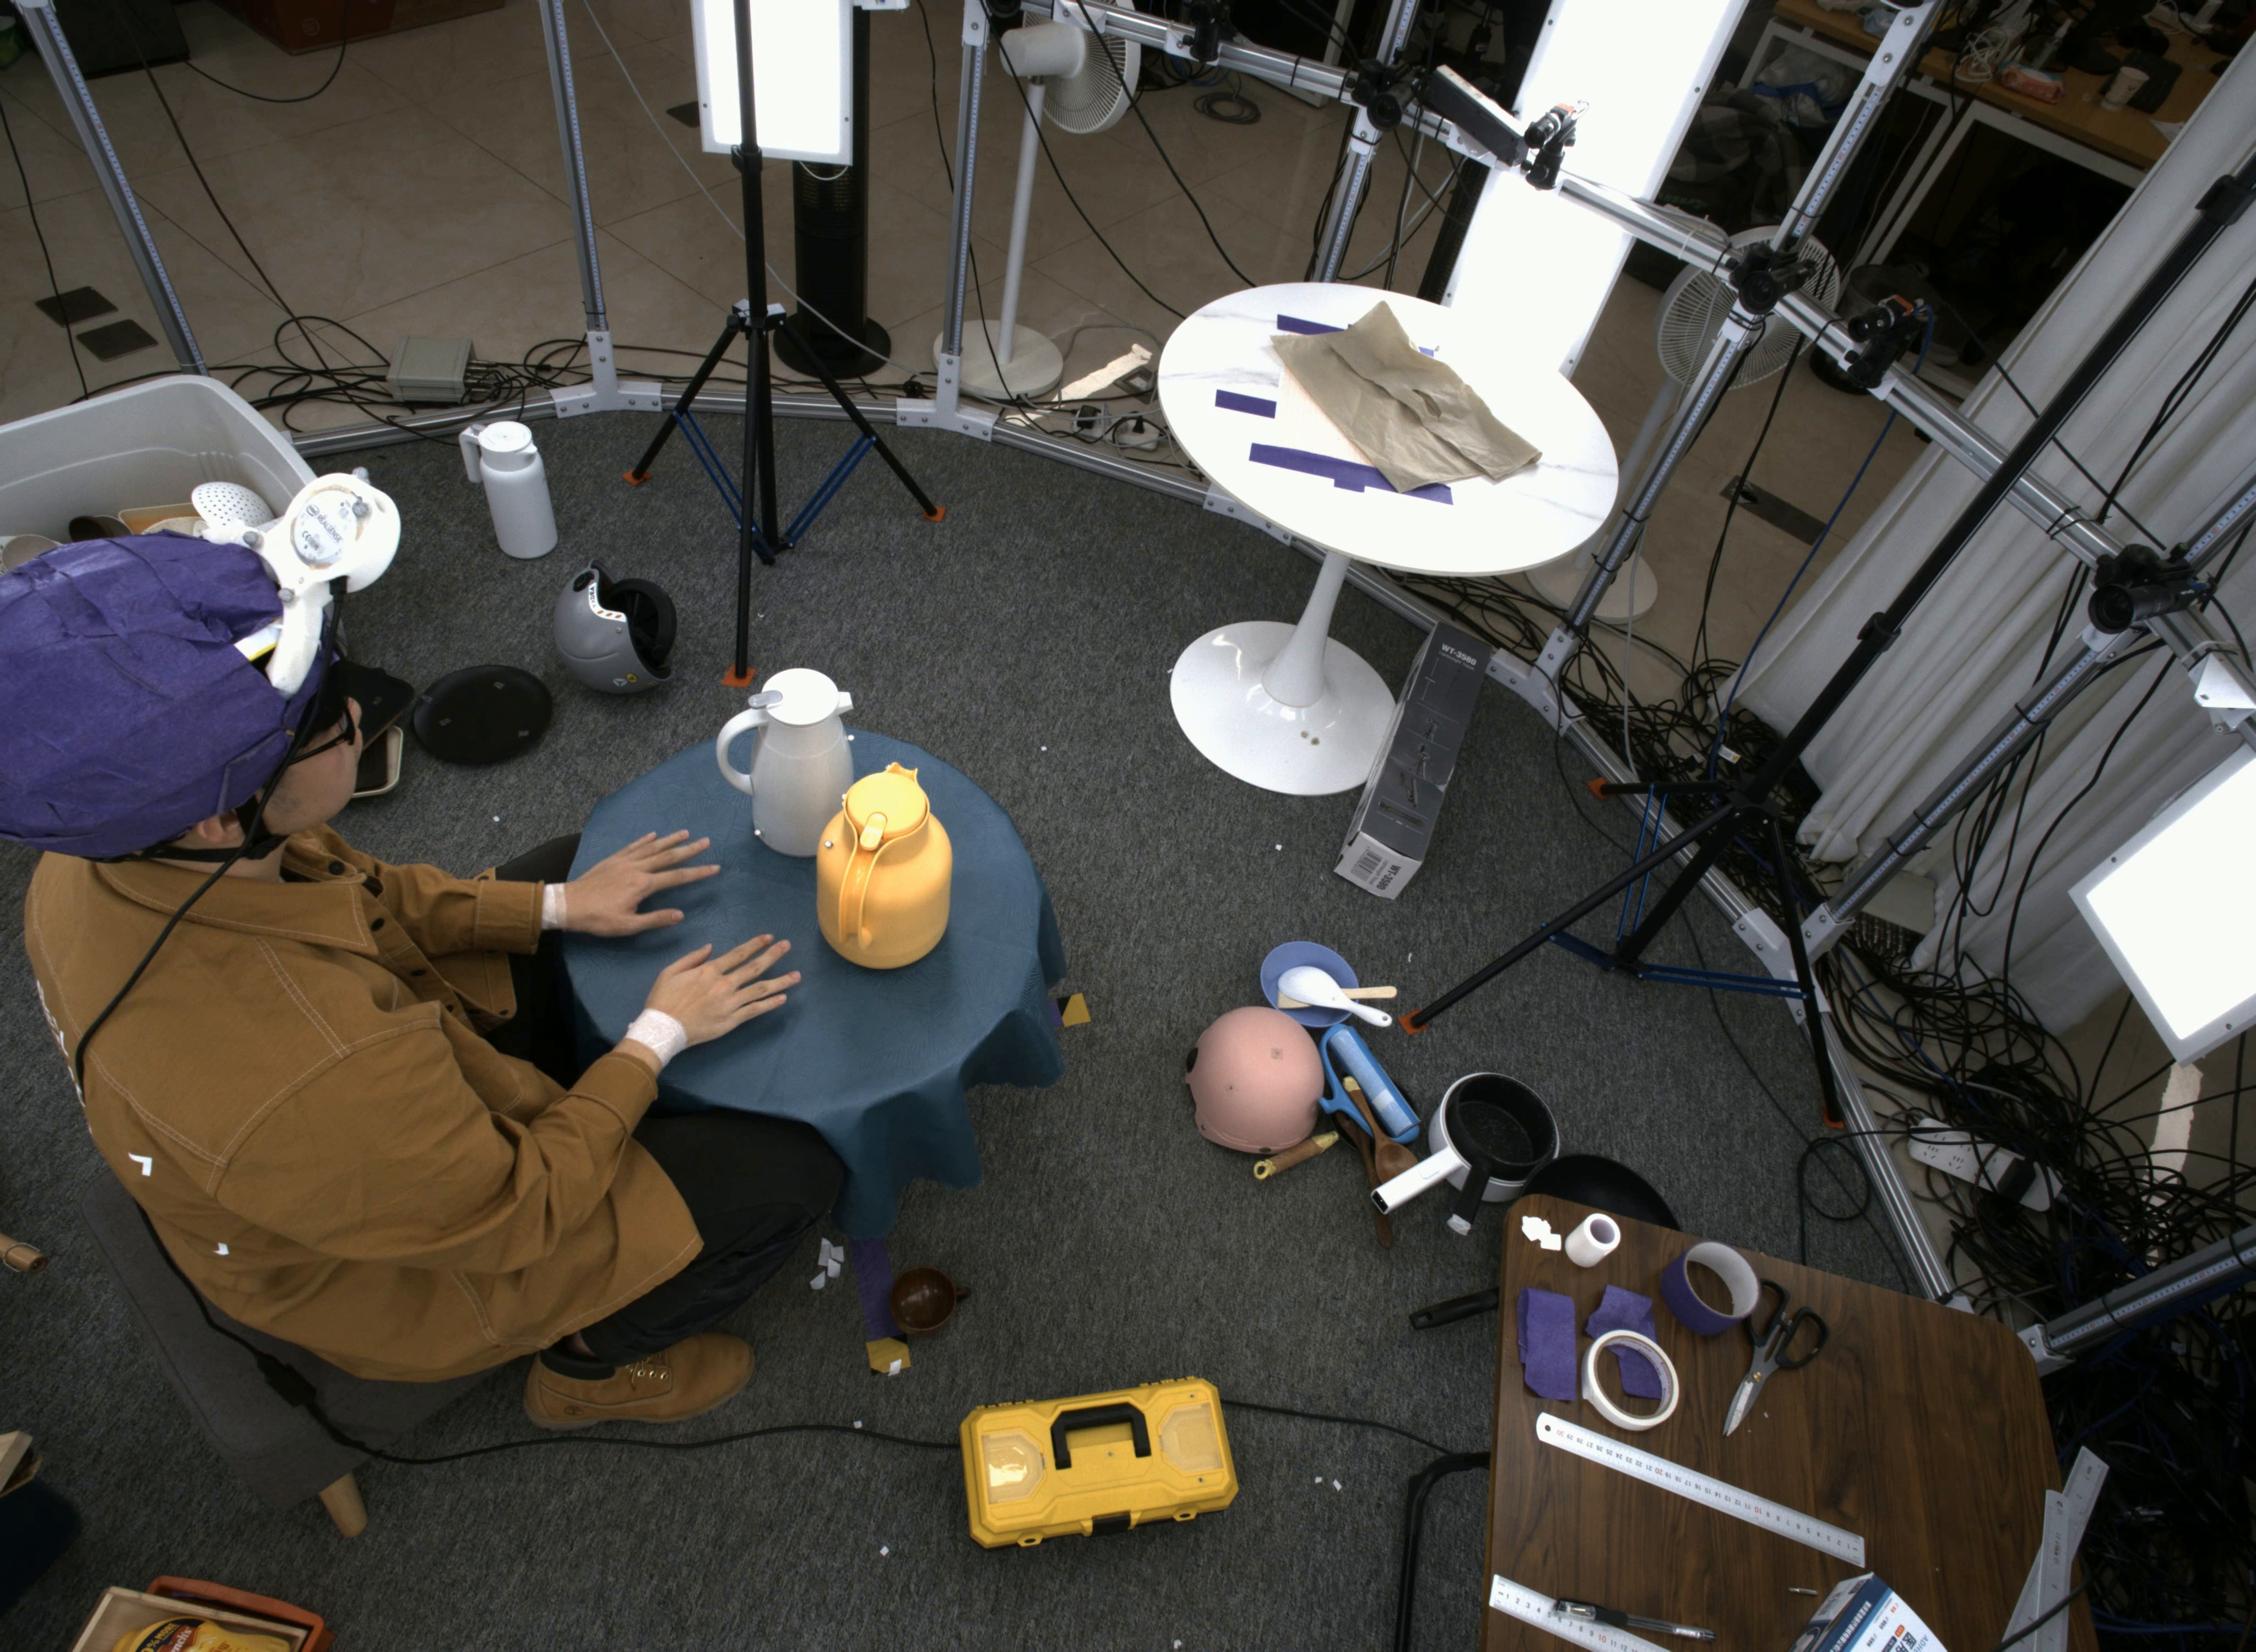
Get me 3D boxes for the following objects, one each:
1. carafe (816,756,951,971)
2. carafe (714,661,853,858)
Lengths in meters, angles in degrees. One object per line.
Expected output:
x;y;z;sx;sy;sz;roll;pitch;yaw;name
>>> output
-0.298;0.057;1.543;0.161;0.267;0.200;16;50;3;carafe
-0.430;-0.085;1.622;0.168;0.254;0.129;-10;55;-19;carafe
